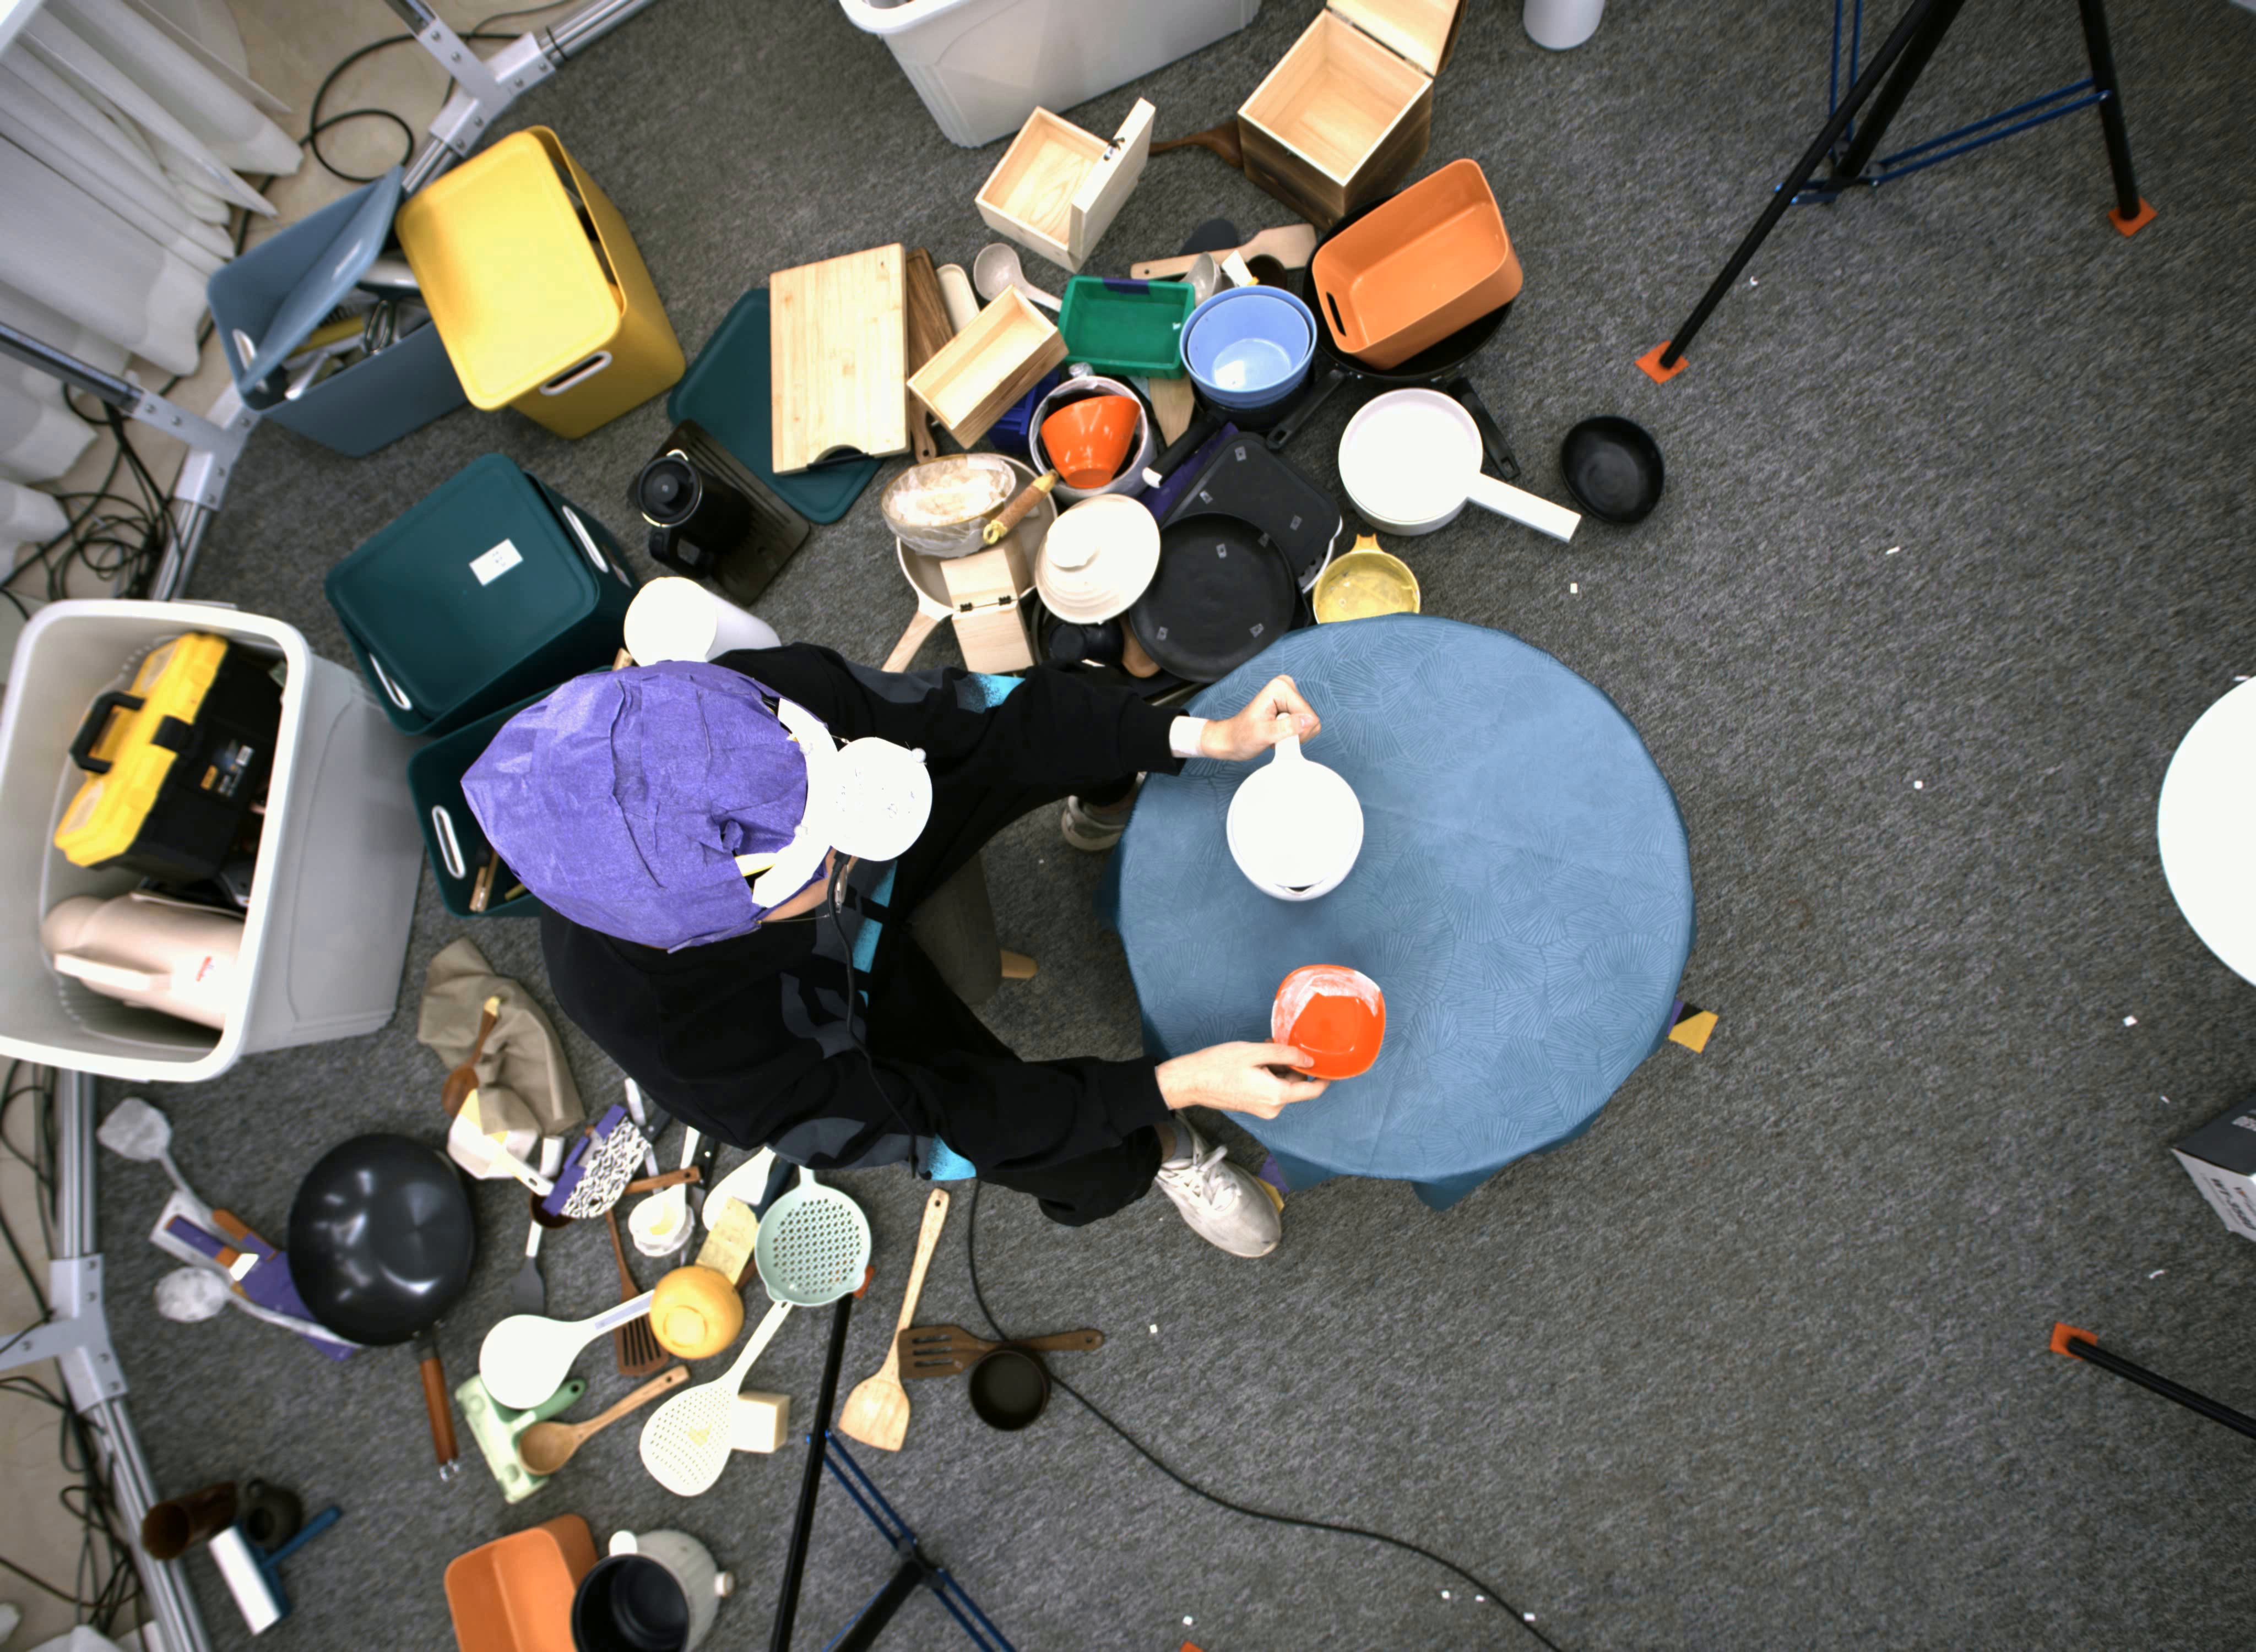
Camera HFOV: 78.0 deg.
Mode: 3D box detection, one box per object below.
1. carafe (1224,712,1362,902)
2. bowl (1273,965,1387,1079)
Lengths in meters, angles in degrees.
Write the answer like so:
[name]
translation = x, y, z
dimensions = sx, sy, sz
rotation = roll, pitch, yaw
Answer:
[carafe]
translation = 0.160, -0.019, 1.368
dimensions = 0.132, 0.183, 0.190
rotation = -7, 83, 6
[bowl]
translation = 0.199, 0.193, 1.376
dimensions = 0.119, 0.051, 0.118
rotation = 0, 87, 6
